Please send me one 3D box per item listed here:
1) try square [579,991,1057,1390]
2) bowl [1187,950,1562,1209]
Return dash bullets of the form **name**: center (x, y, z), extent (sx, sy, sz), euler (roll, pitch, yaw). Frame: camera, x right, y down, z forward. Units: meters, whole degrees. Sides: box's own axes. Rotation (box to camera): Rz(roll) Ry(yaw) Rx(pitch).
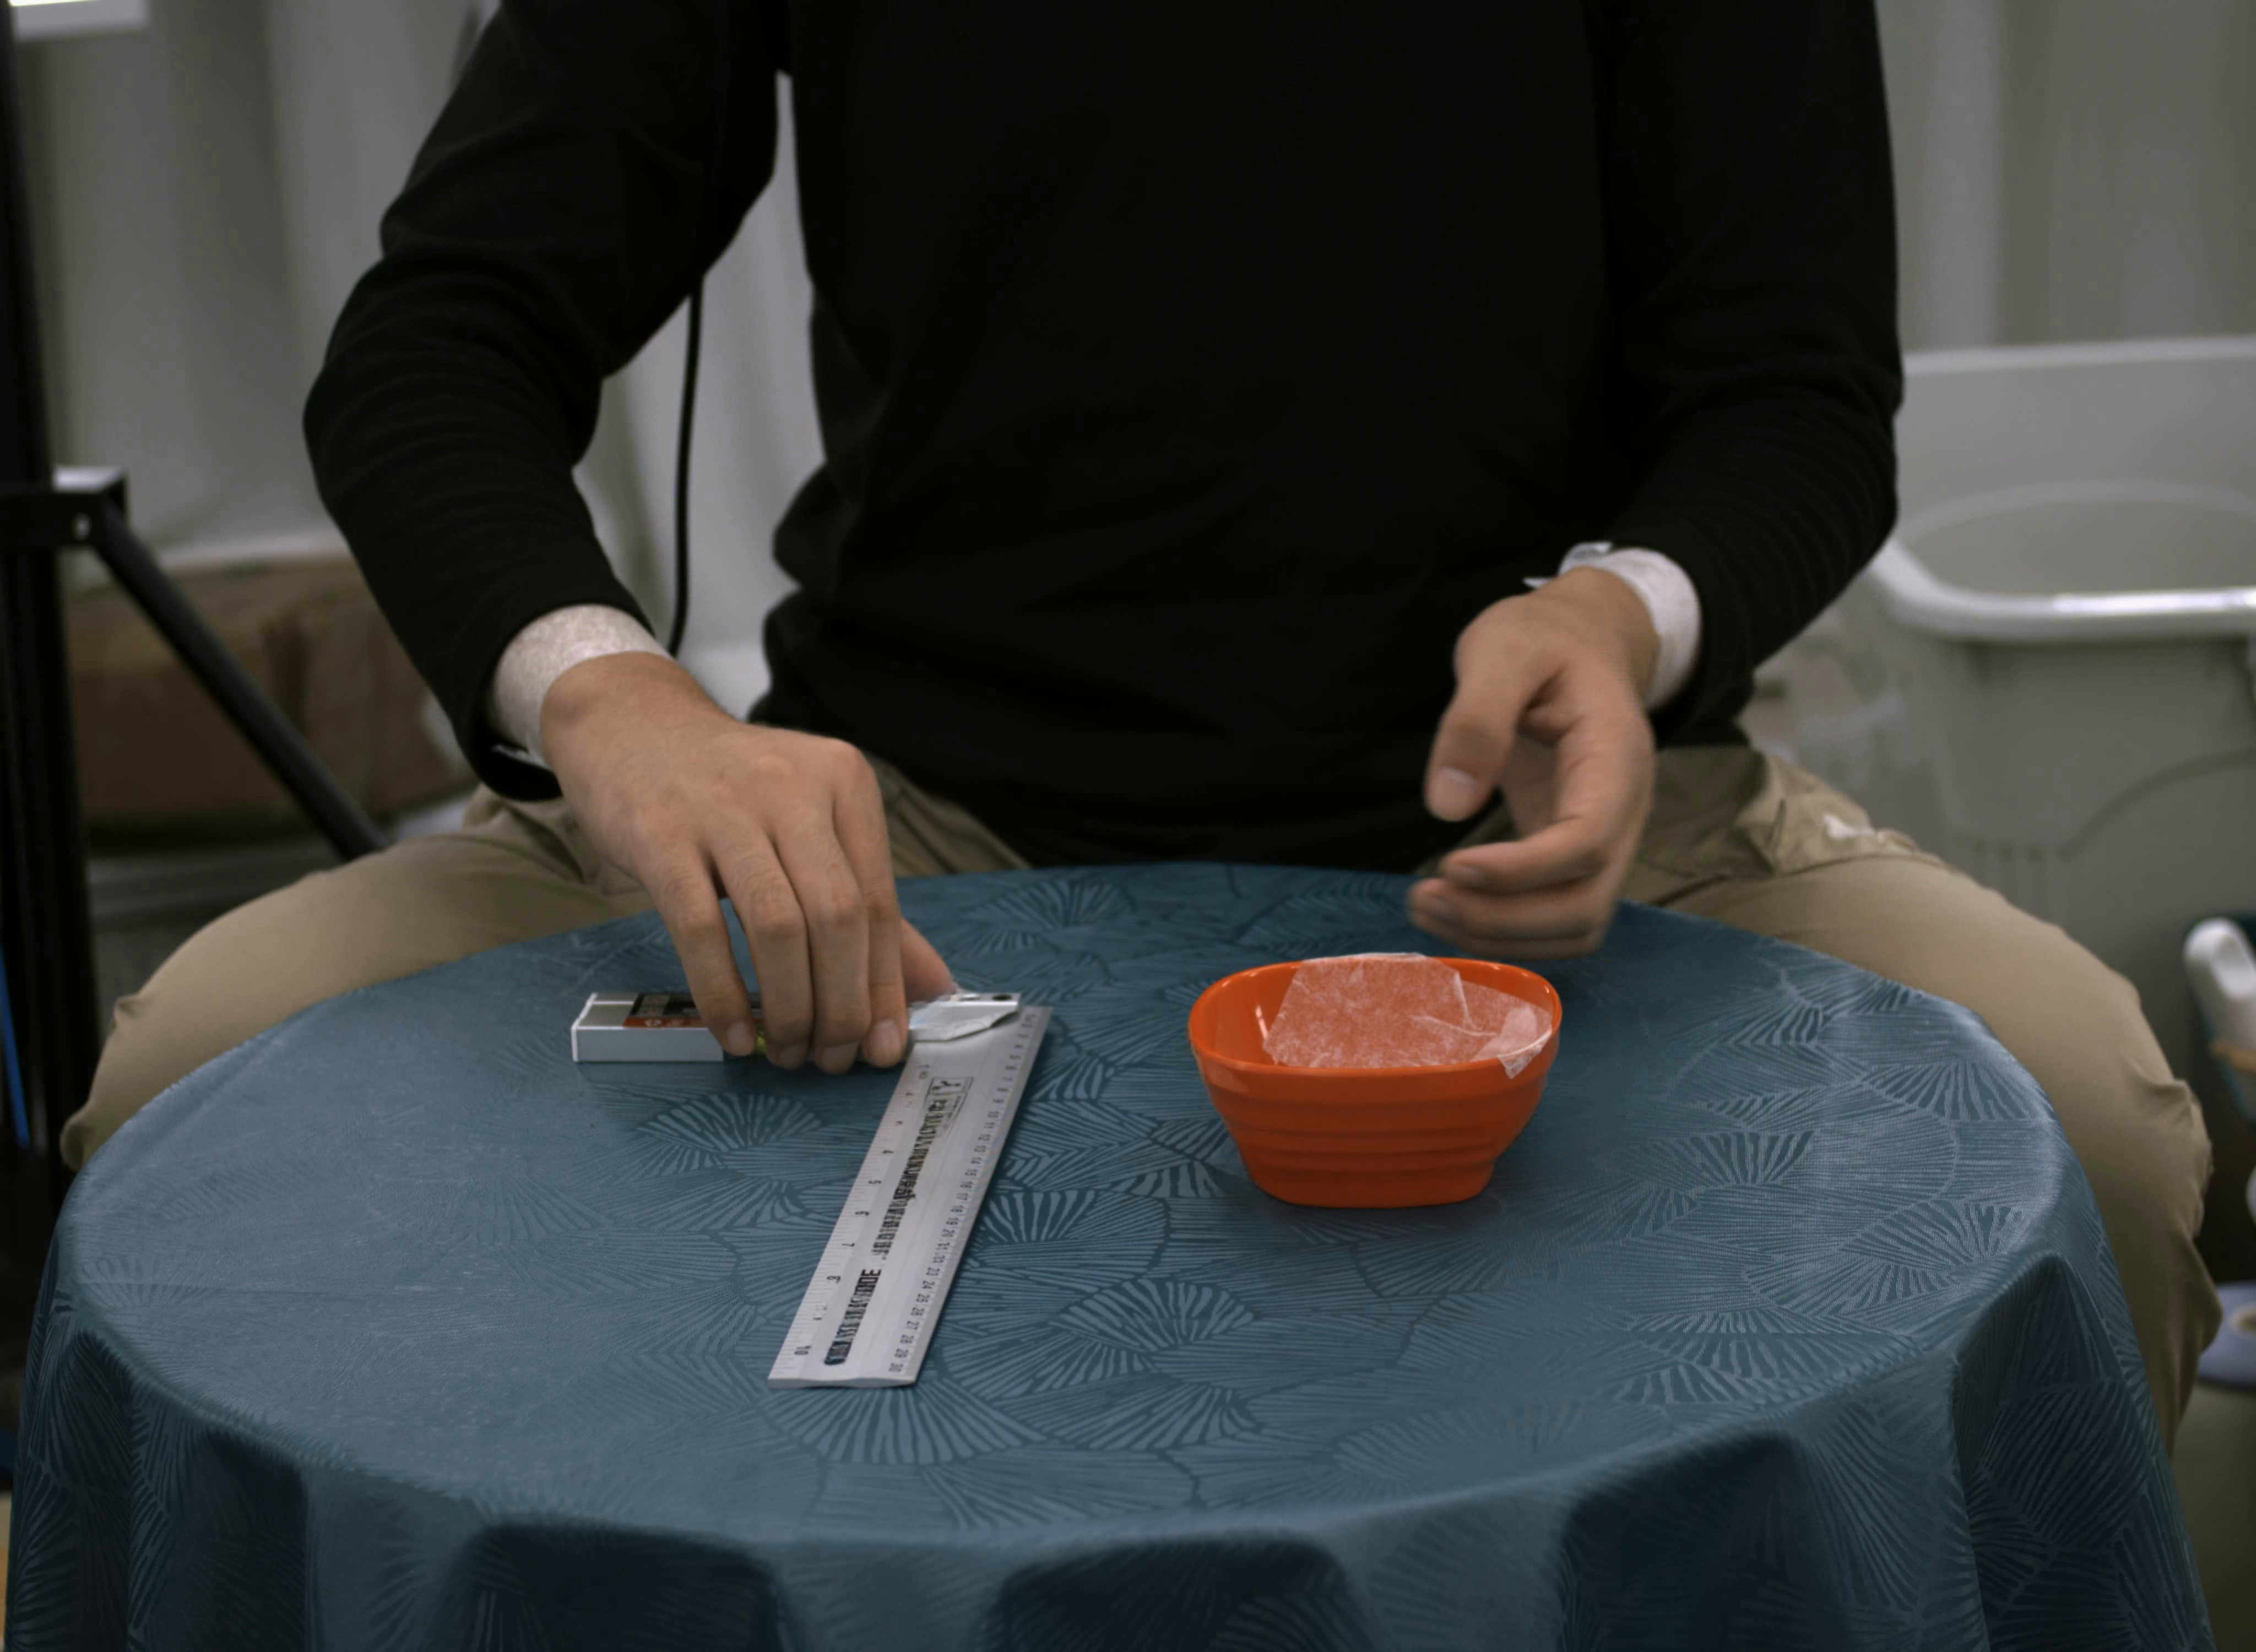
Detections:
- **try square**: center (-0.113, 0.106, 1.576), extent (0.152, 0.016, 0.312), euler (-3, 17, 8)
- **bowl**: center (0.074, 0.077, 1.557), extent (0.118, 0.051, 0.119), euler (-4, 17, 0)
